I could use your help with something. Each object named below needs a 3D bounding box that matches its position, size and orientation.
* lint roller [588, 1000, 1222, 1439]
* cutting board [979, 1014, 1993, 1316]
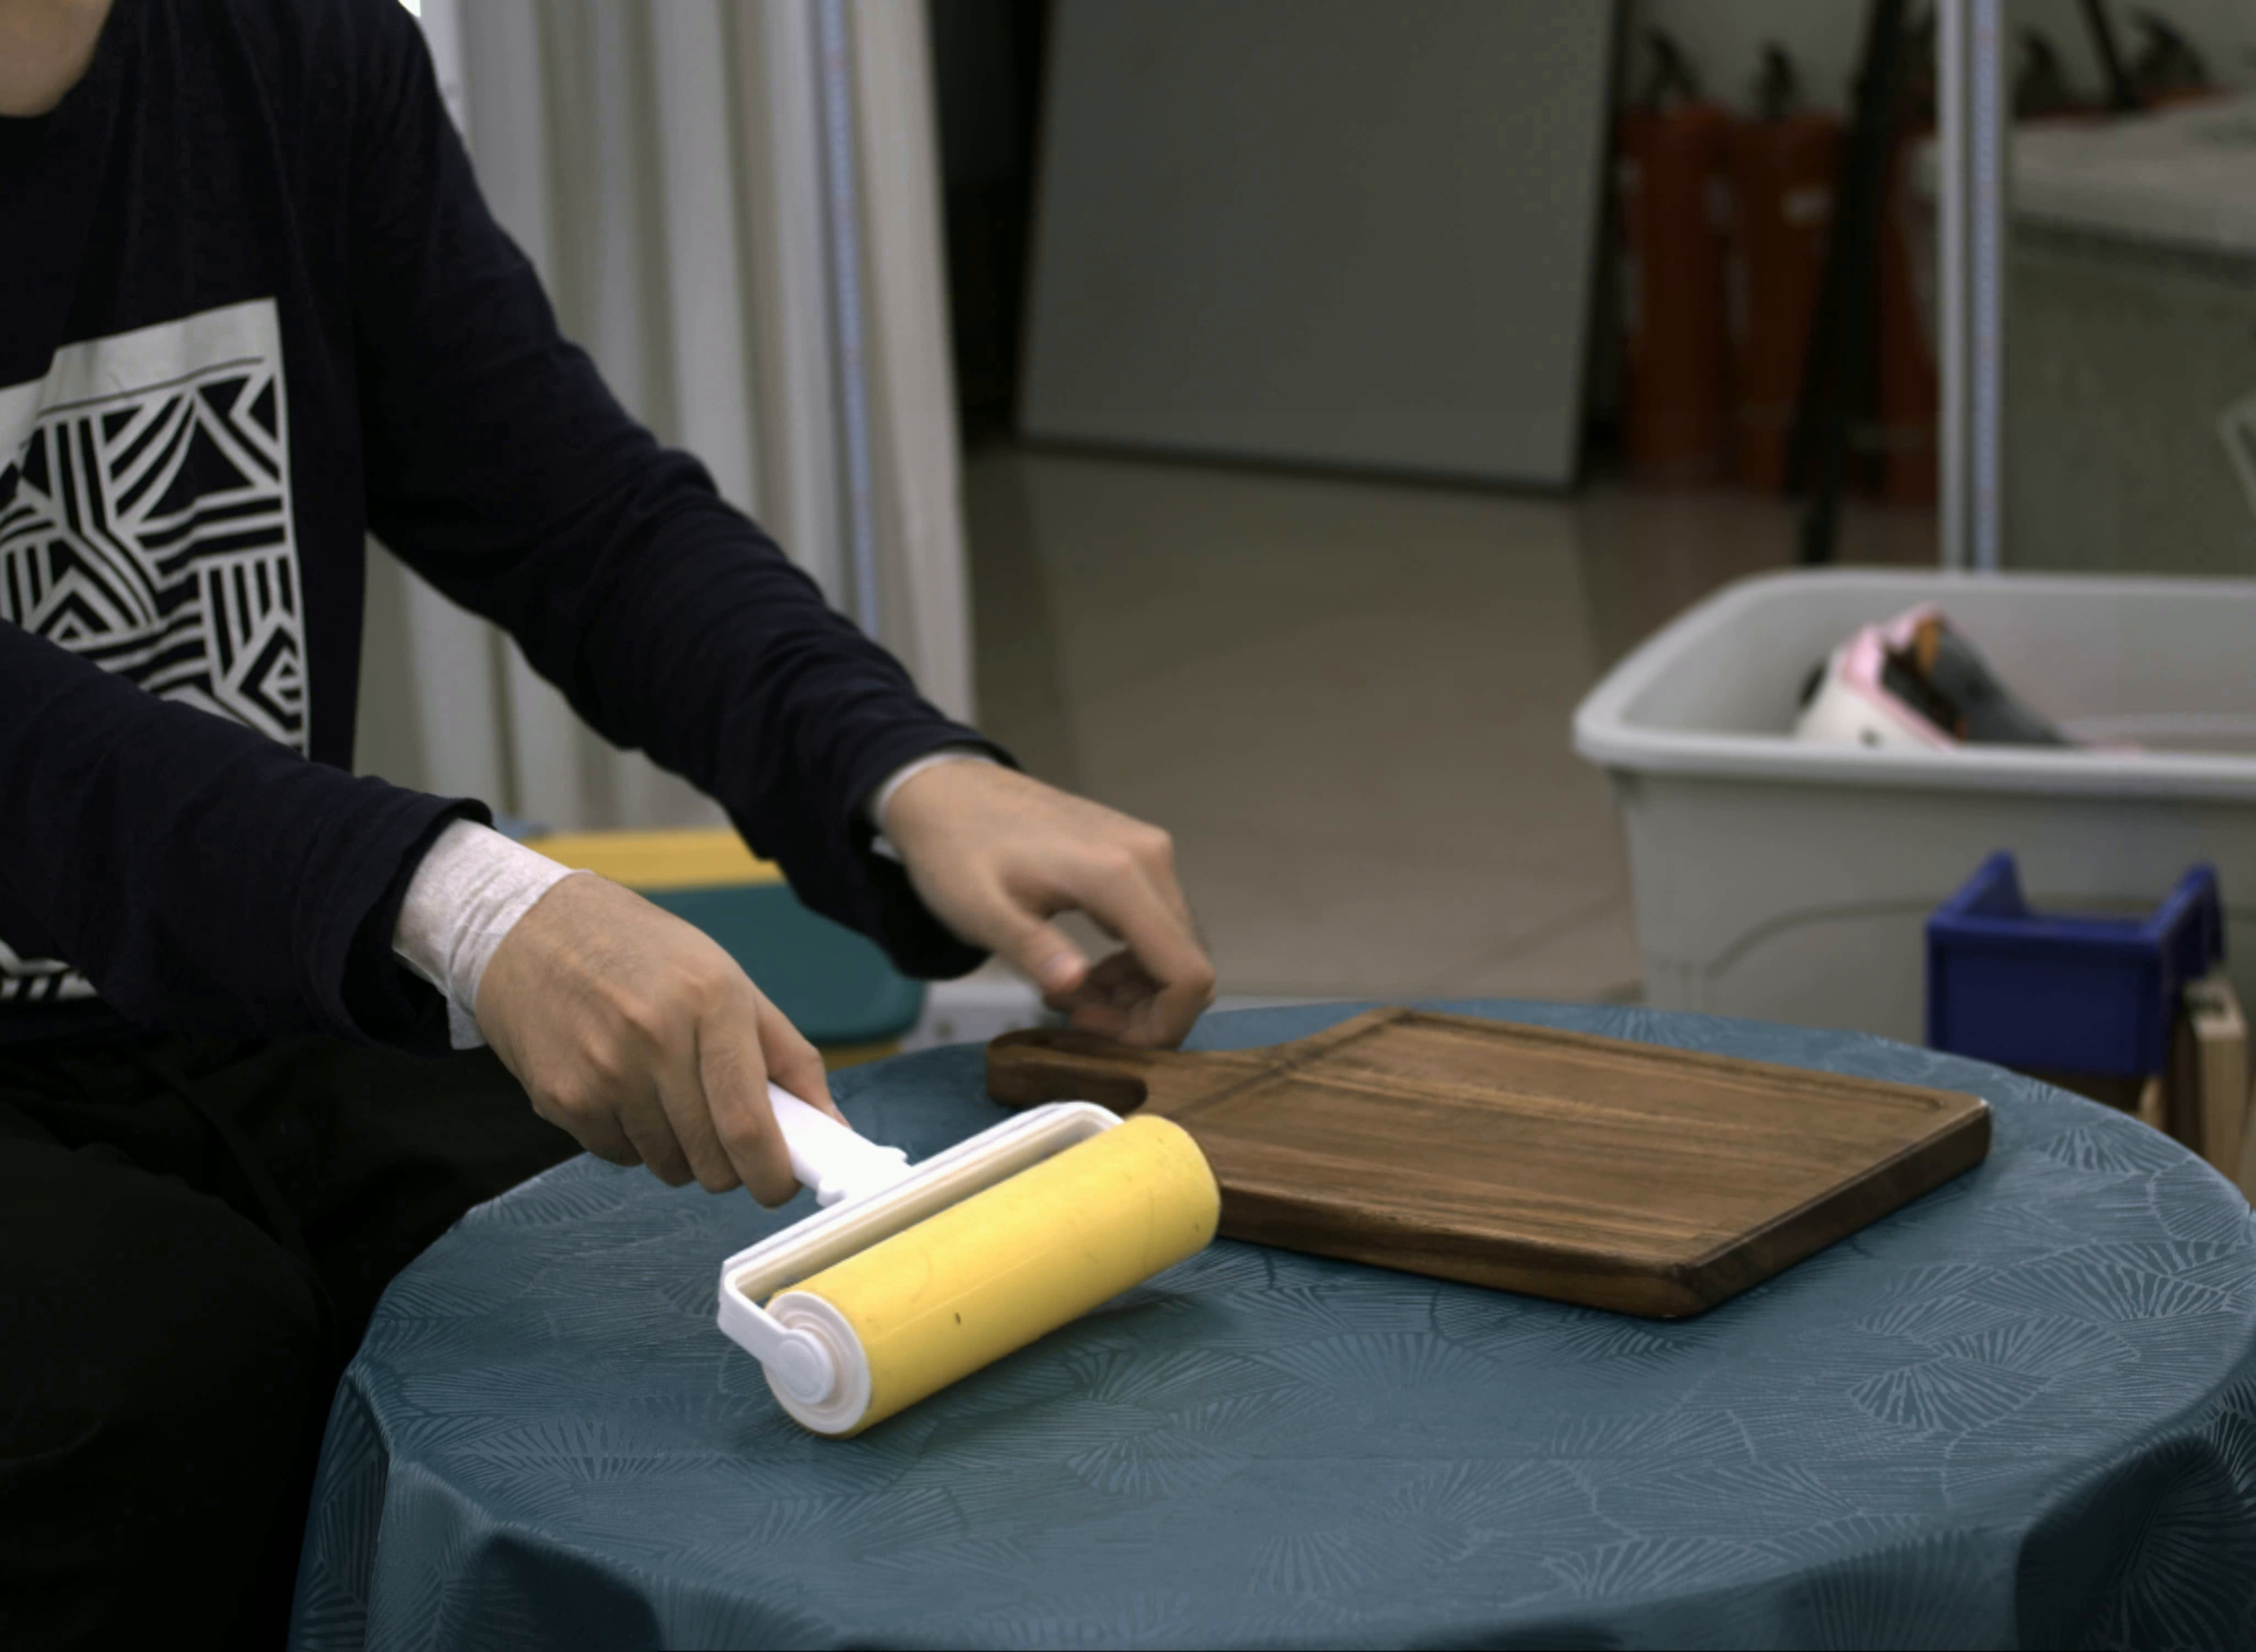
[{"bbox_3d":[-0.090,0.096,1.644,0.193,0.052,0.171,38,37,25],"label":"lint roller"},{"bbox_3d":[0.091,0.102,1.785,0.355,0.023,0.197,7,17,39],"label":"cutting board"}]
